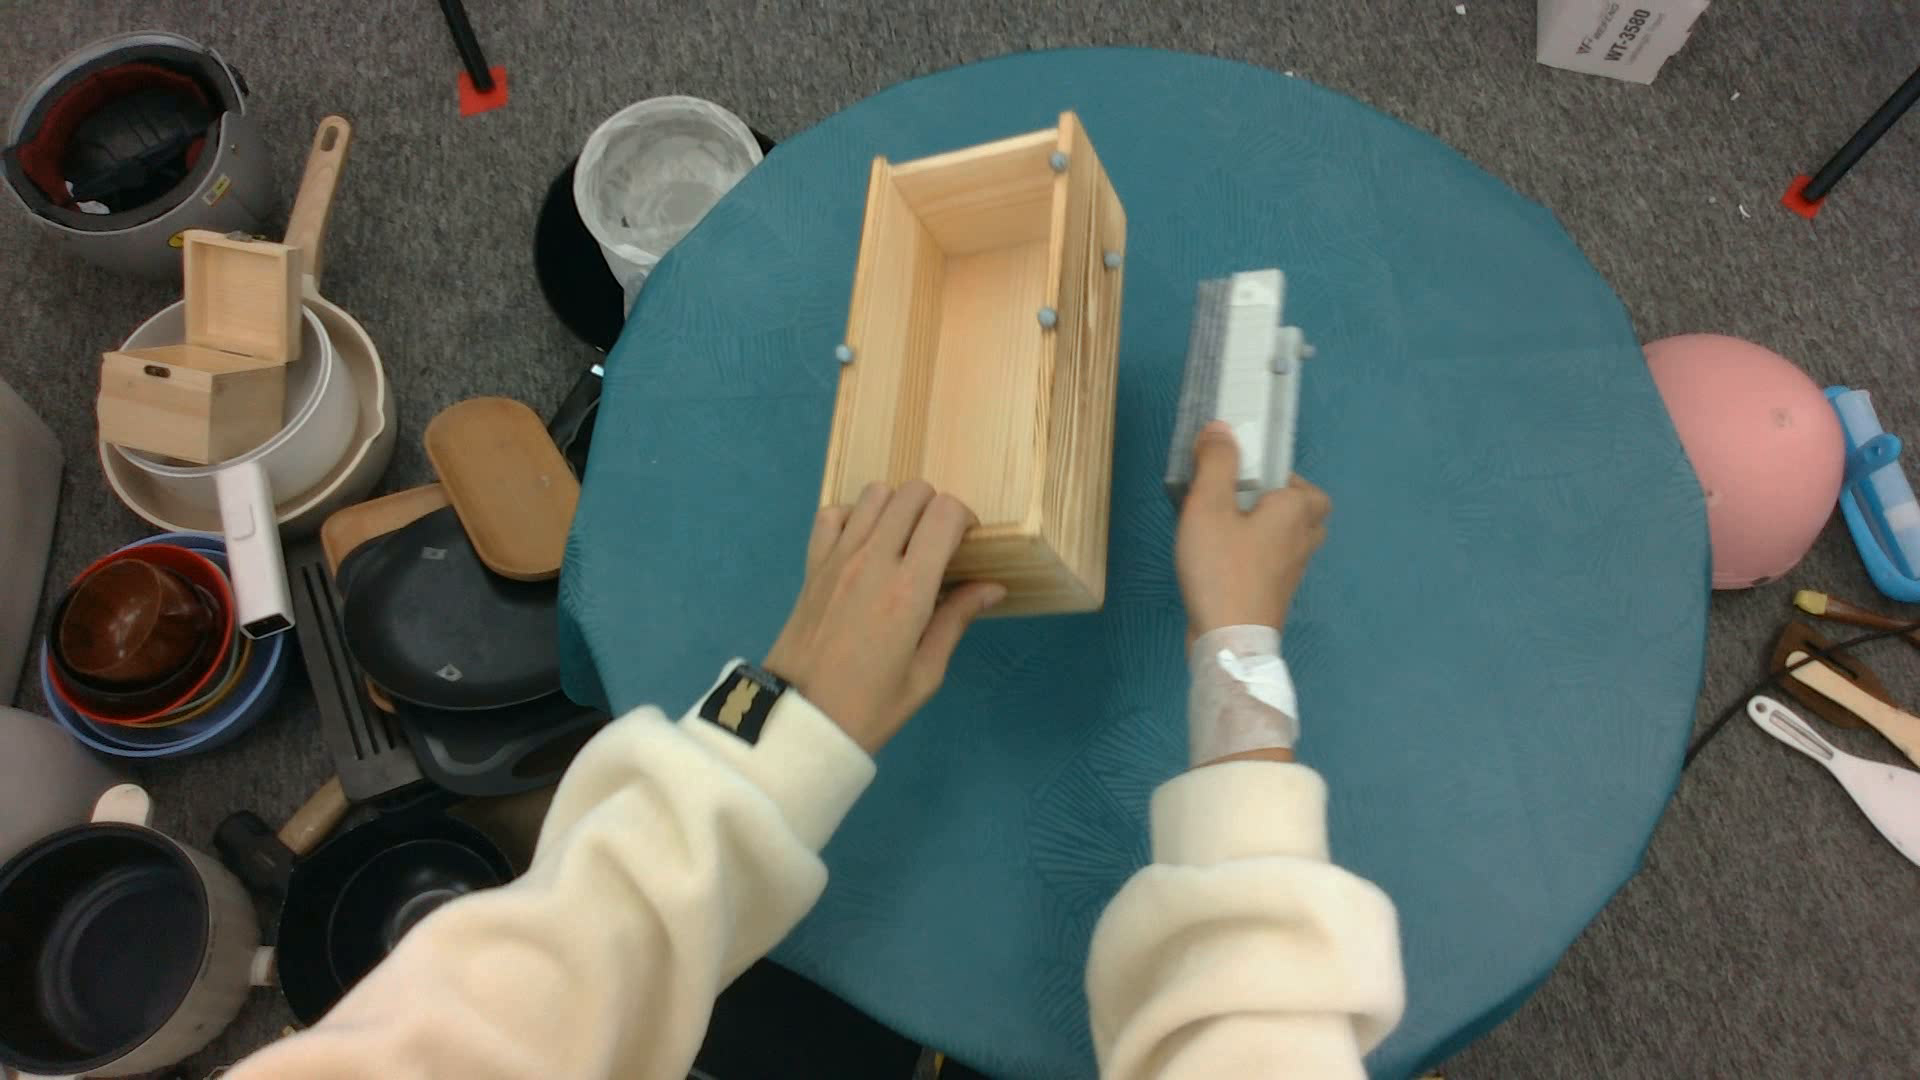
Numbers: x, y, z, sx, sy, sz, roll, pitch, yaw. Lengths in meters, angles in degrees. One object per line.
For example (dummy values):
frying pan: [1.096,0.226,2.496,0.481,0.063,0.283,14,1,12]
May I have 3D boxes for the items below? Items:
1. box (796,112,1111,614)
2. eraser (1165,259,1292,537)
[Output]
box: [0.003,-0.080,0.637,0.107,0.080,0.212,-6,62,23]
eraser: [0.131,-0.070,0.668,0.046,0.049,0.135,-4,53,23]
